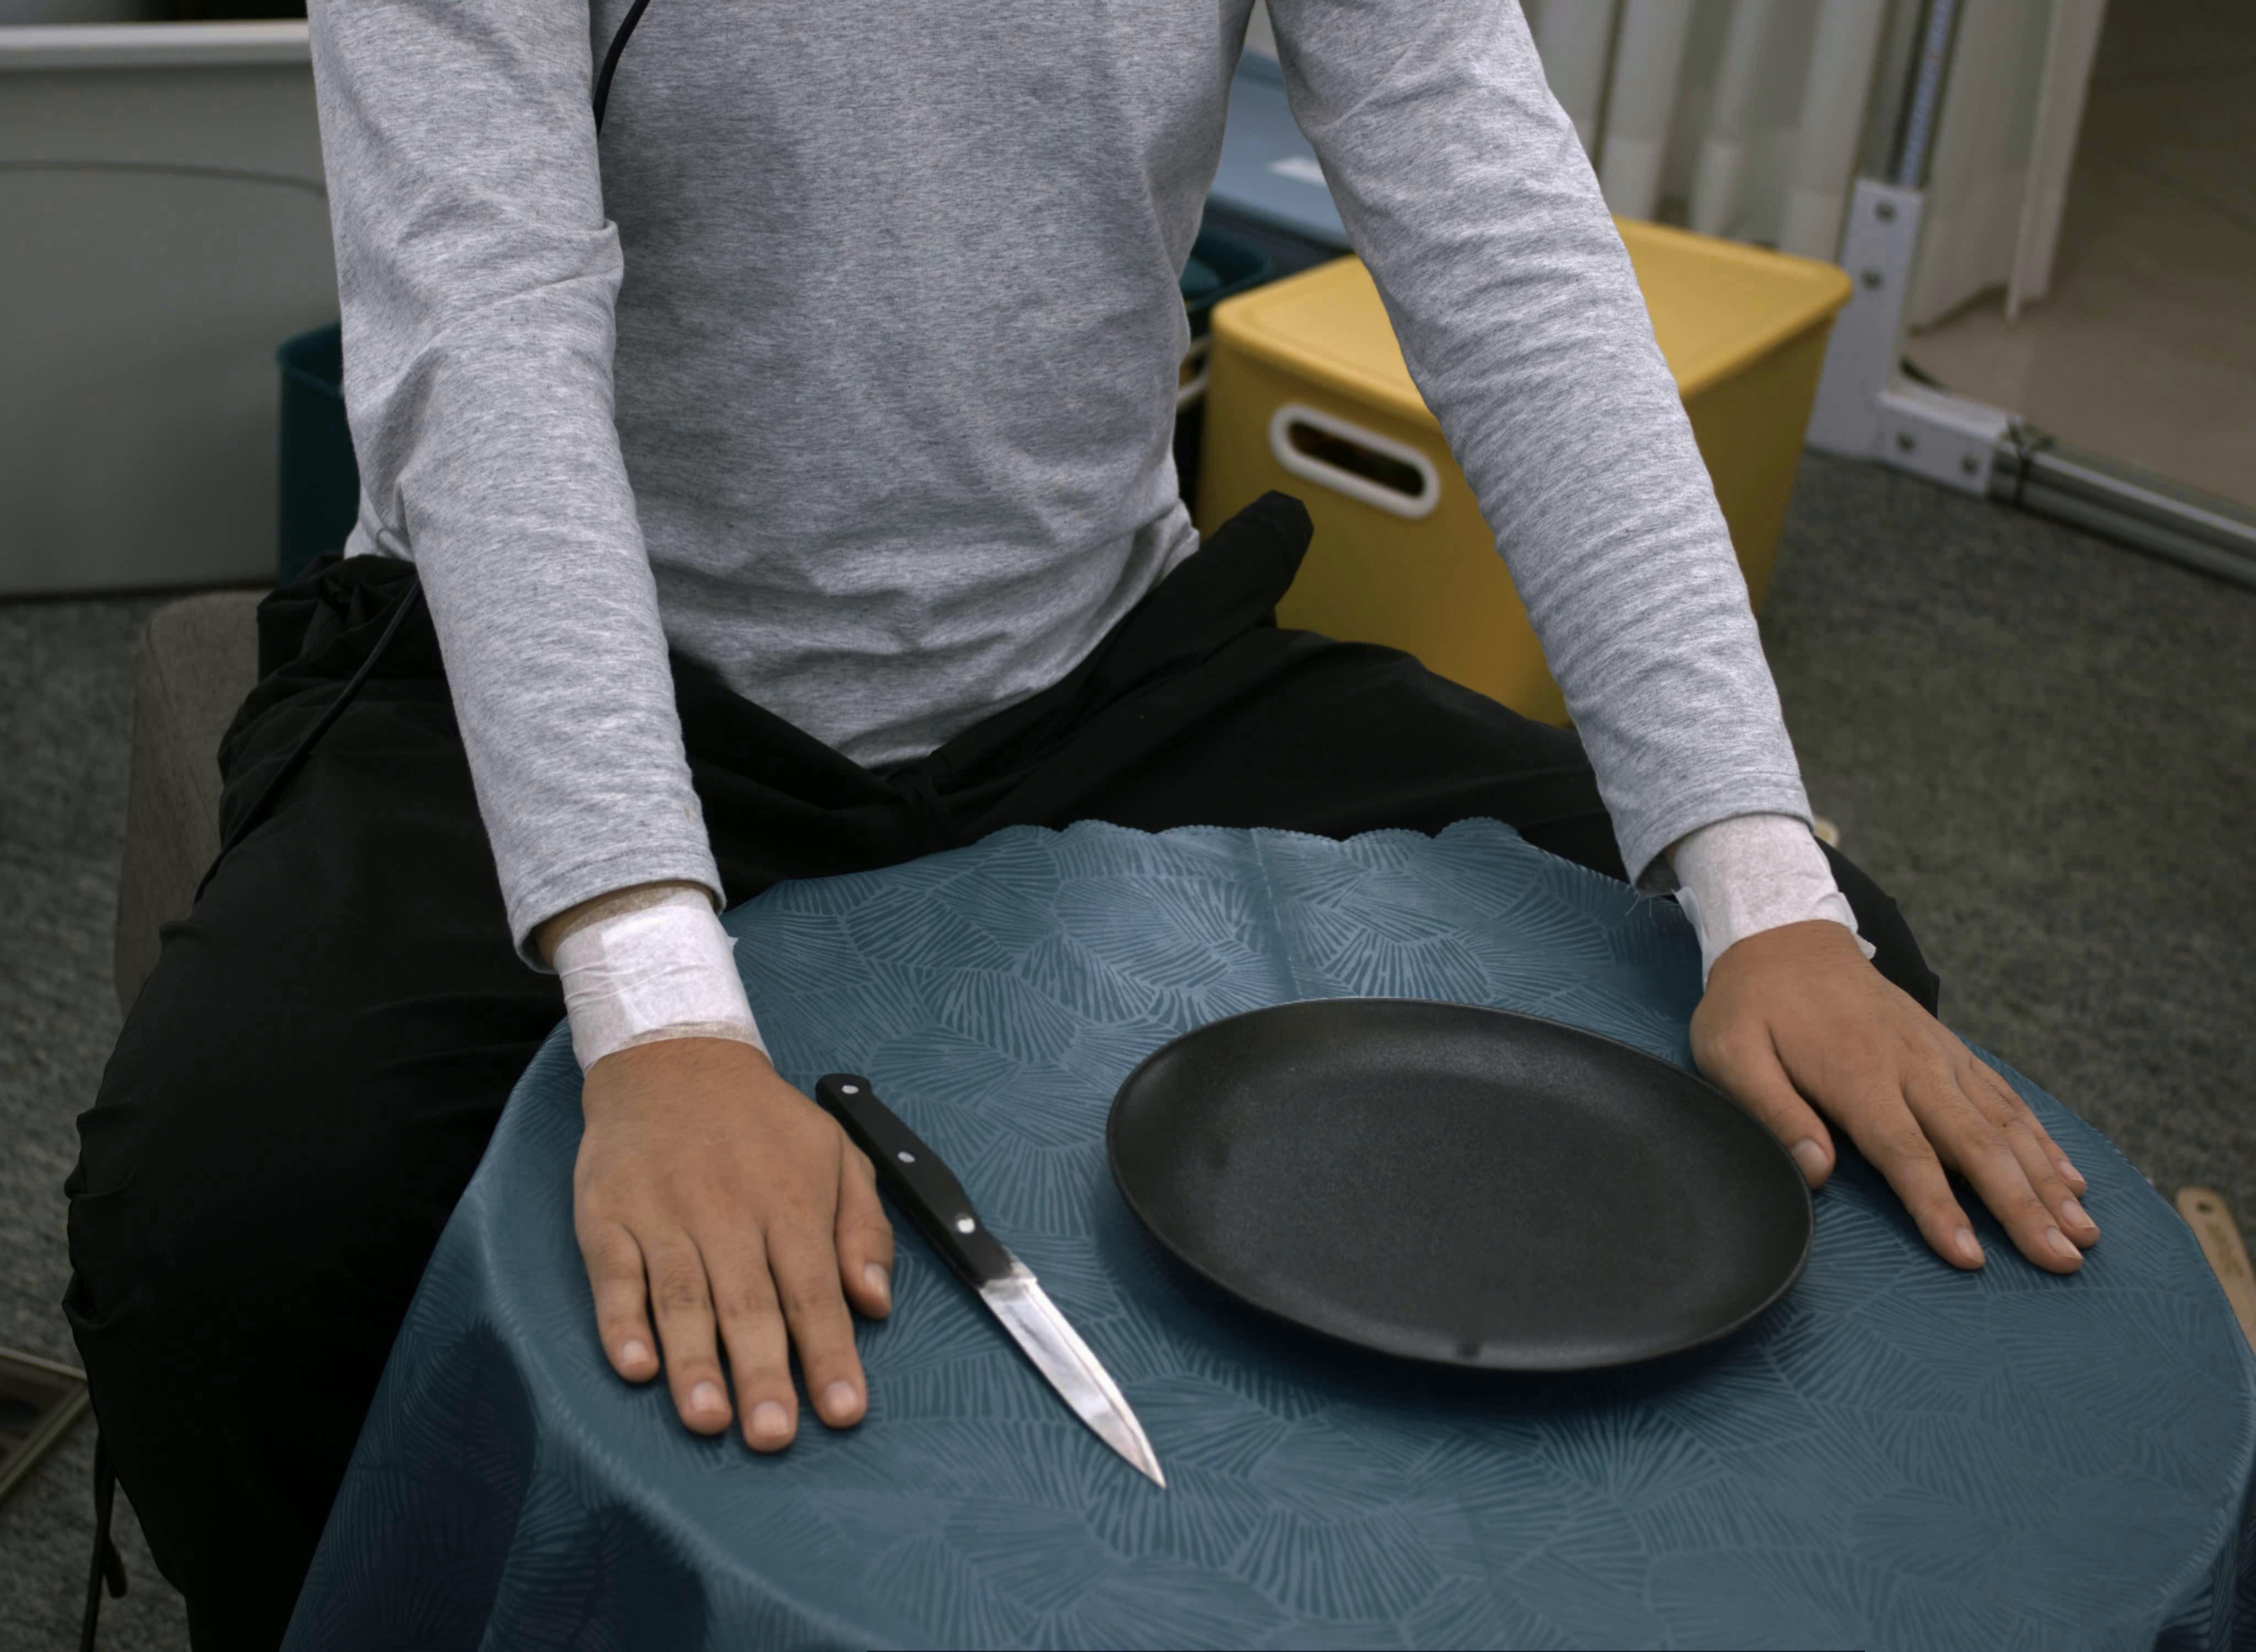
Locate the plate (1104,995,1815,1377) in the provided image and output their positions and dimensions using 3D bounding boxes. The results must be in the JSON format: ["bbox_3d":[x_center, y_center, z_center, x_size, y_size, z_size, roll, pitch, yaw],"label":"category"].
[{"bbox_3d":[0.111,0.125,1.802,0.243,0.023,0.246,5,27,-3],"label":"plate"}]

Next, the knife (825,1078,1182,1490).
[{"bbox_3d":[-0.043,0.149,1.735,0.024,0.016,0.240,-8,33,-28],"label":"knife"}]
